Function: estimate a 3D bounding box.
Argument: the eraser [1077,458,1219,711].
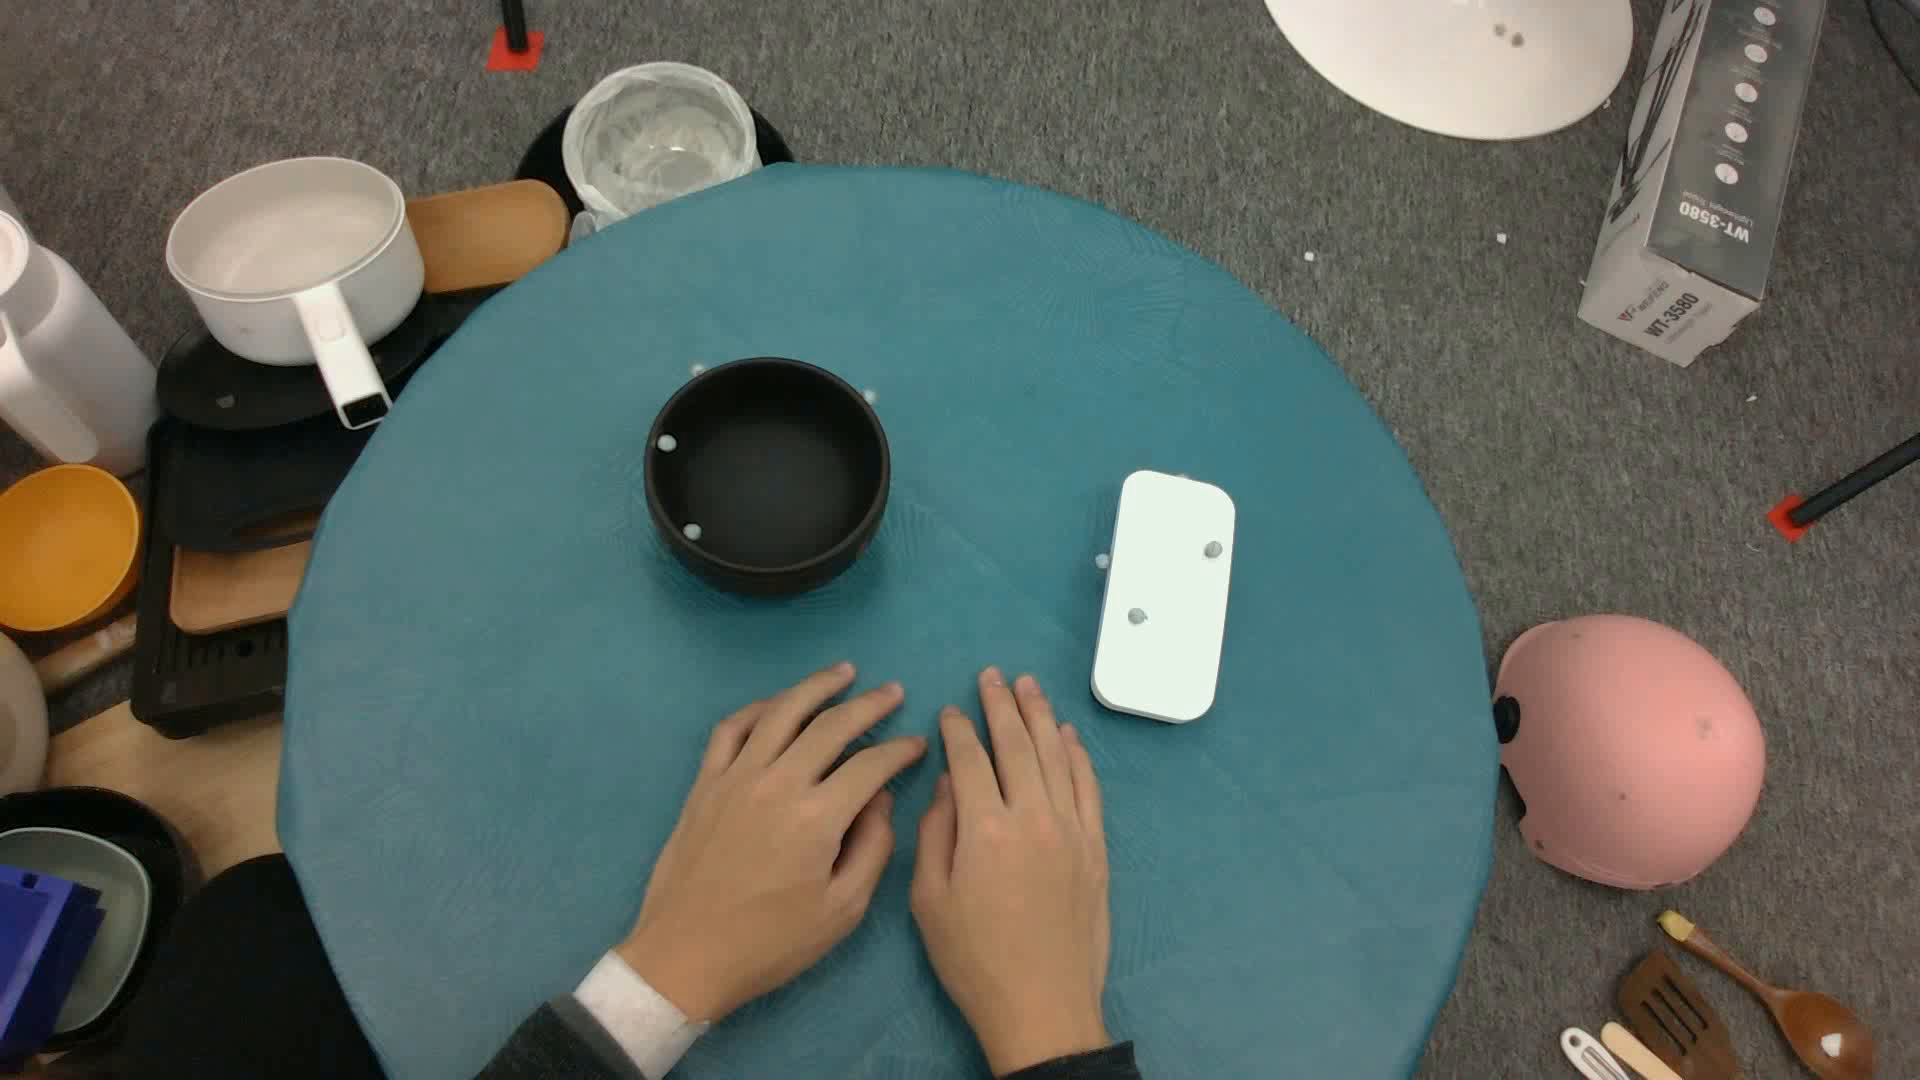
[{"bbox_3d":[0.095,0.021,0.704,0.063,0.034,0.132,13,65,-3],"label":"eraser"}]

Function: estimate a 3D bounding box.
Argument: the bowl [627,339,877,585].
[{"bbox_3d":[-0.101,-0.032,0.673,0.118,0.069,0.118,3,67,-8],"label":"bowl"}]
